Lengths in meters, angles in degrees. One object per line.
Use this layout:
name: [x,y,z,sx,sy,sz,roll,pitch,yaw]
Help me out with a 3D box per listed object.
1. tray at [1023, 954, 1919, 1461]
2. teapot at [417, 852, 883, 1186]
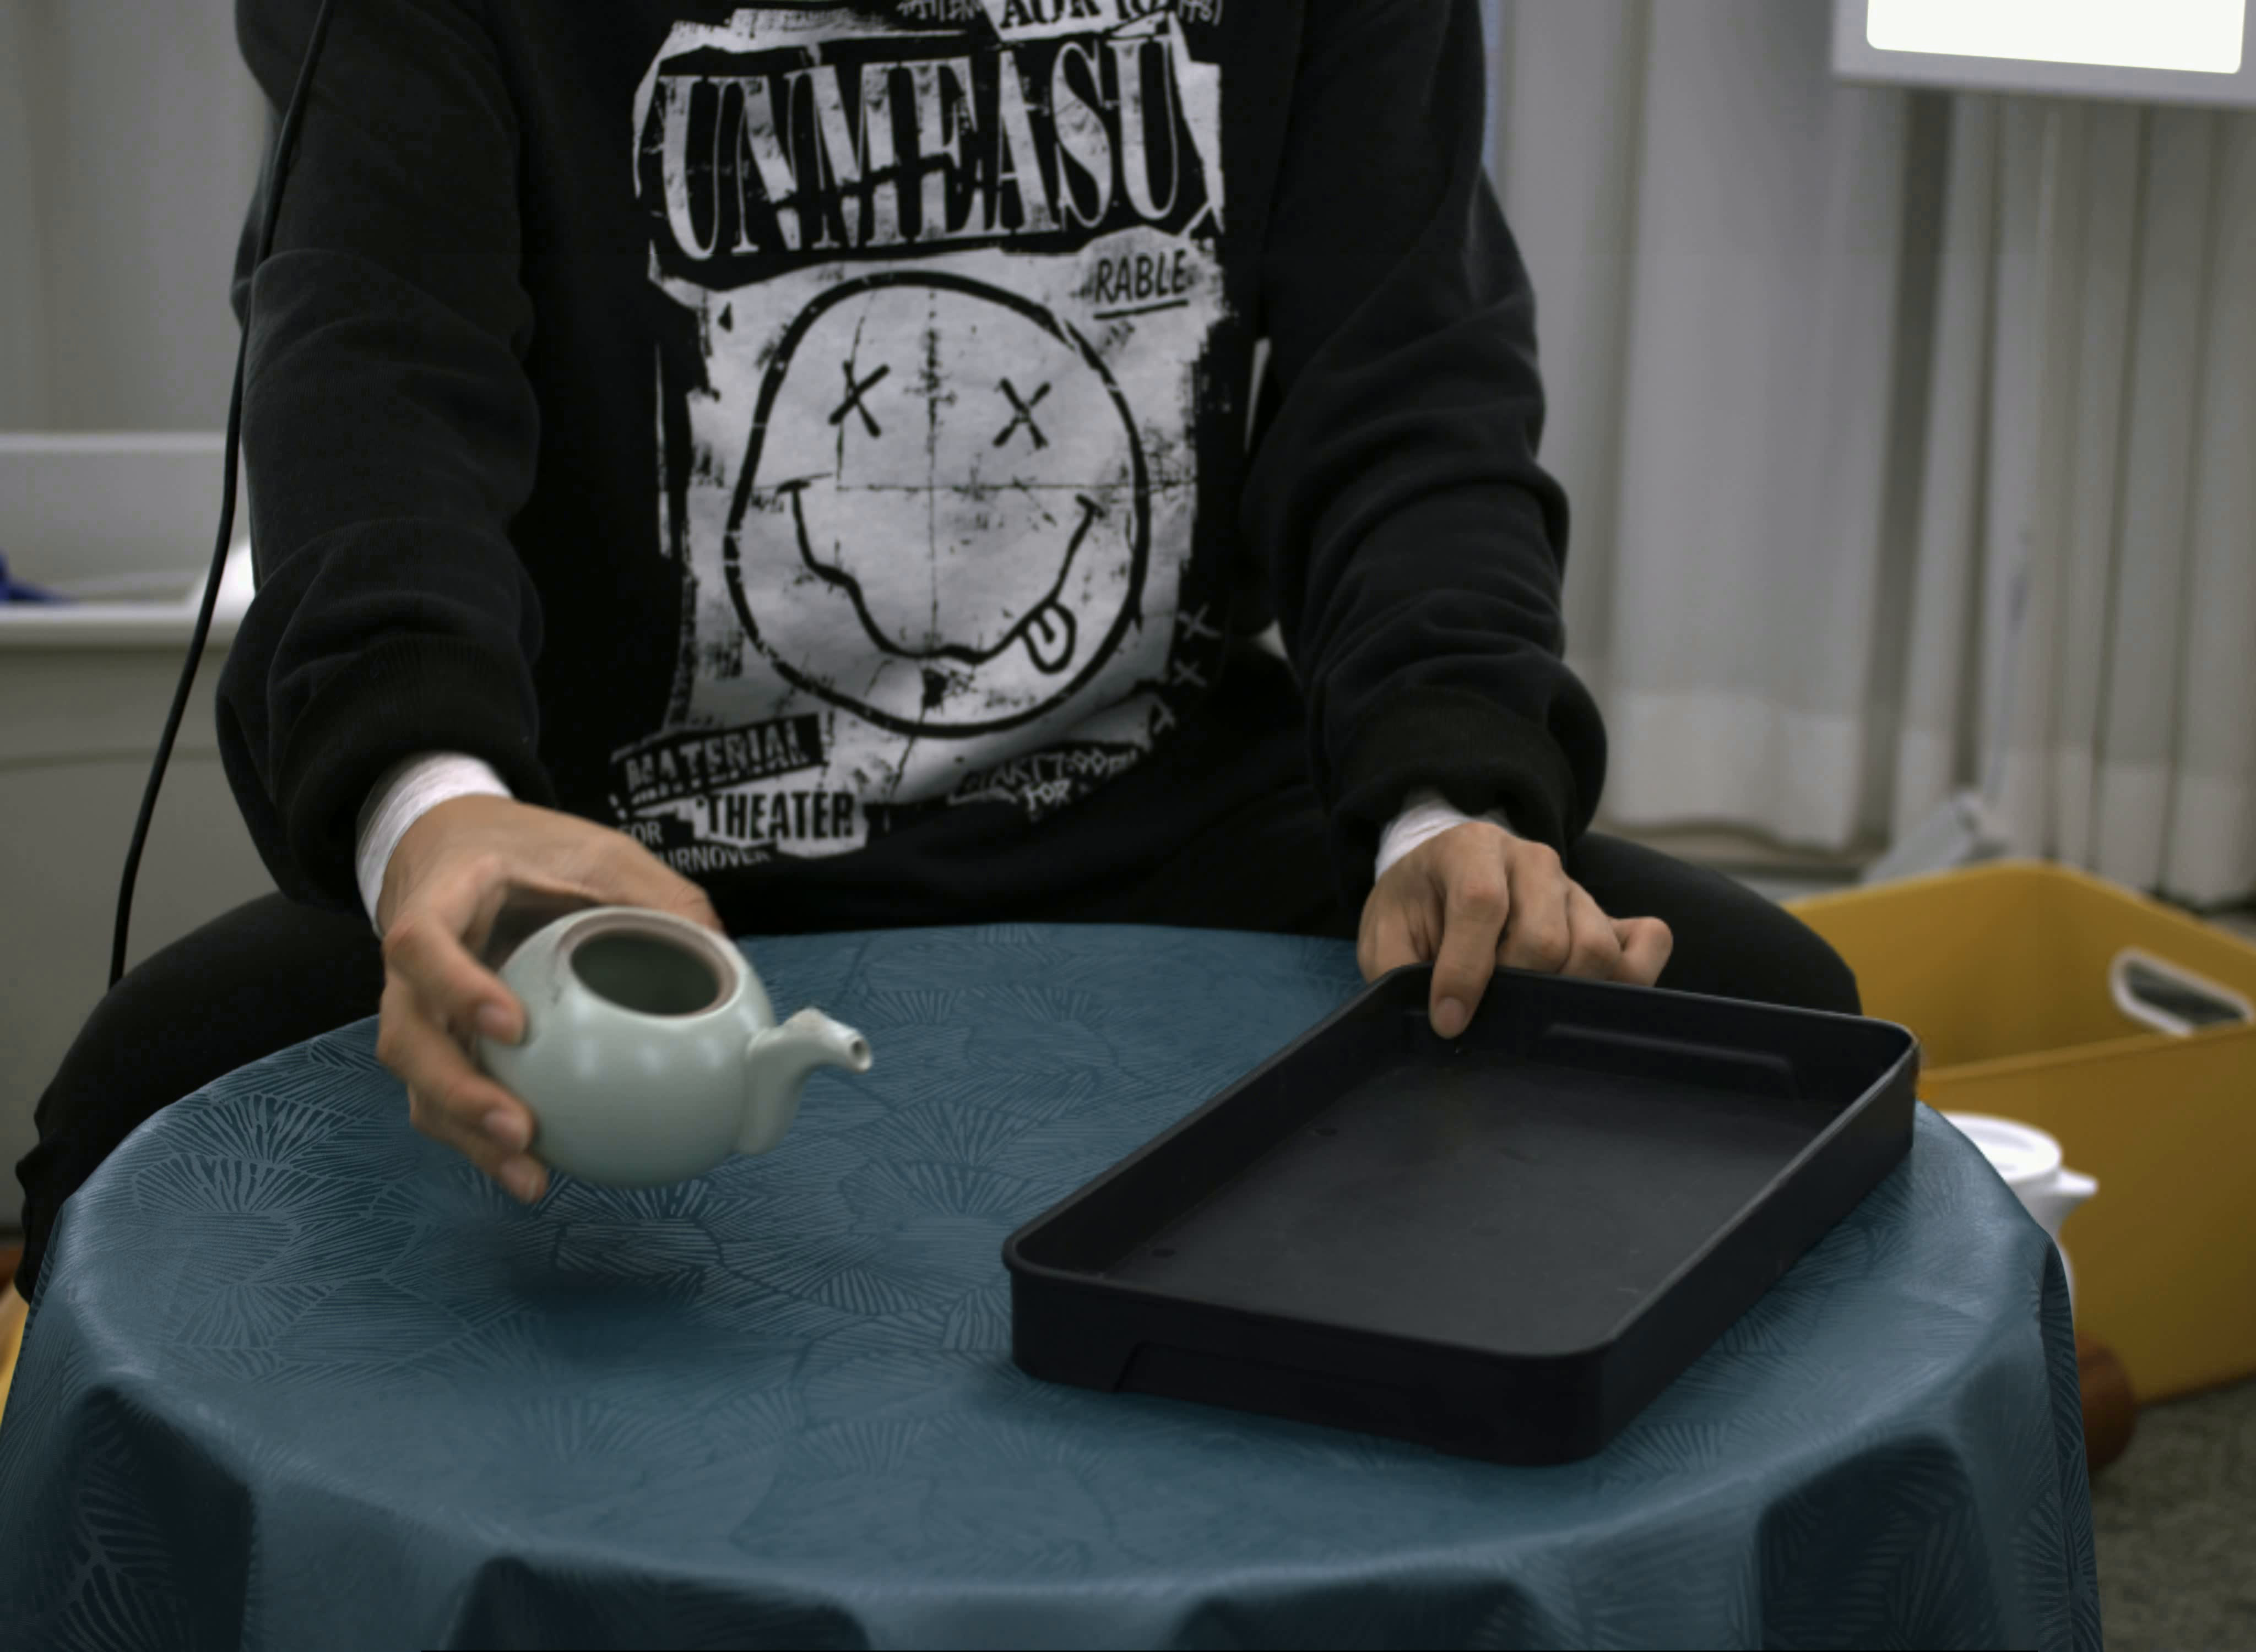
tray: [0.110,0.106,1.574,0.182,0.037,0.318,7,18,22]
teapot: [-0.142,0.062,1.524,0.143,0.075,0.088,23,30,12]
